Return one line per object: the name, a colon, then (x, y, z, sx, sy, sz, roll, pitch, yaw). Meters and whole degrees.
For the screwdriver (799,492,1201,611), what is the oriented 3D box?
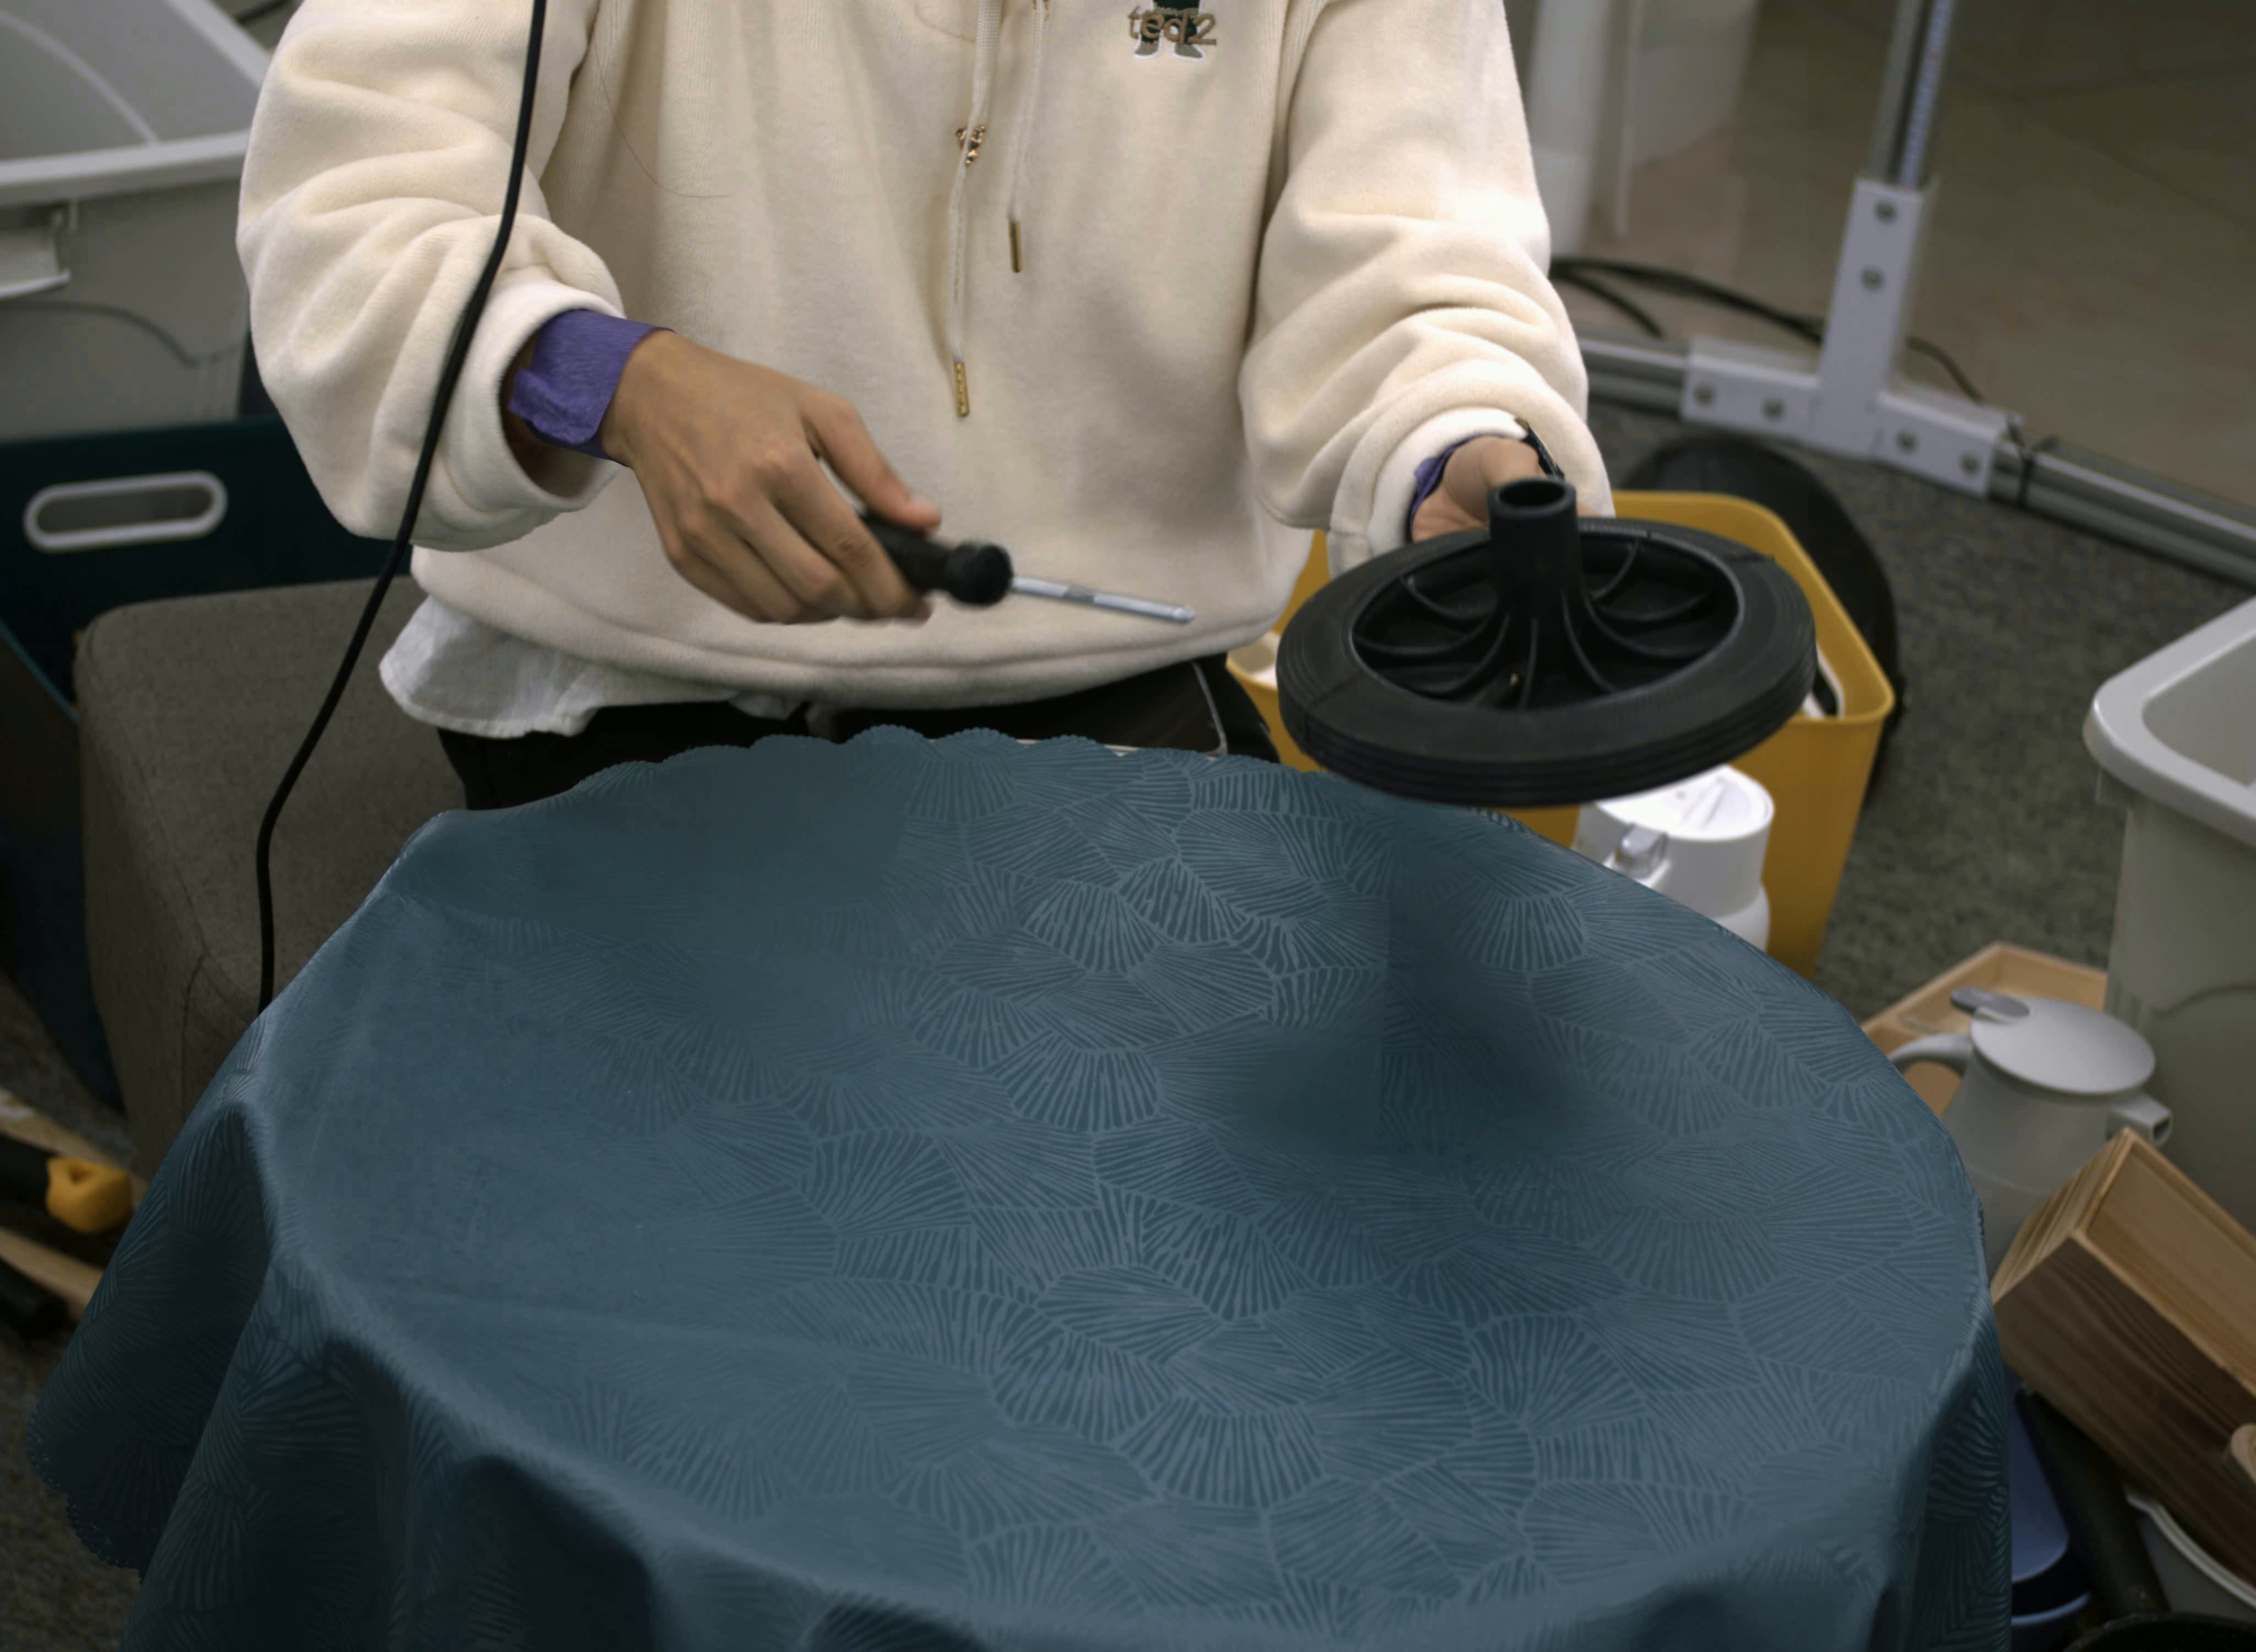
screwdriver: (-0.046, -0.095, 1.856, 0.031, 0.031, 0.197, -18, 20, -41)

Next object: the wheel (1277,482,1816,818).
wheel: (0.142, -0.076, 1.839, 0.187, 0.079, 0.190, -1, 30, 13)
